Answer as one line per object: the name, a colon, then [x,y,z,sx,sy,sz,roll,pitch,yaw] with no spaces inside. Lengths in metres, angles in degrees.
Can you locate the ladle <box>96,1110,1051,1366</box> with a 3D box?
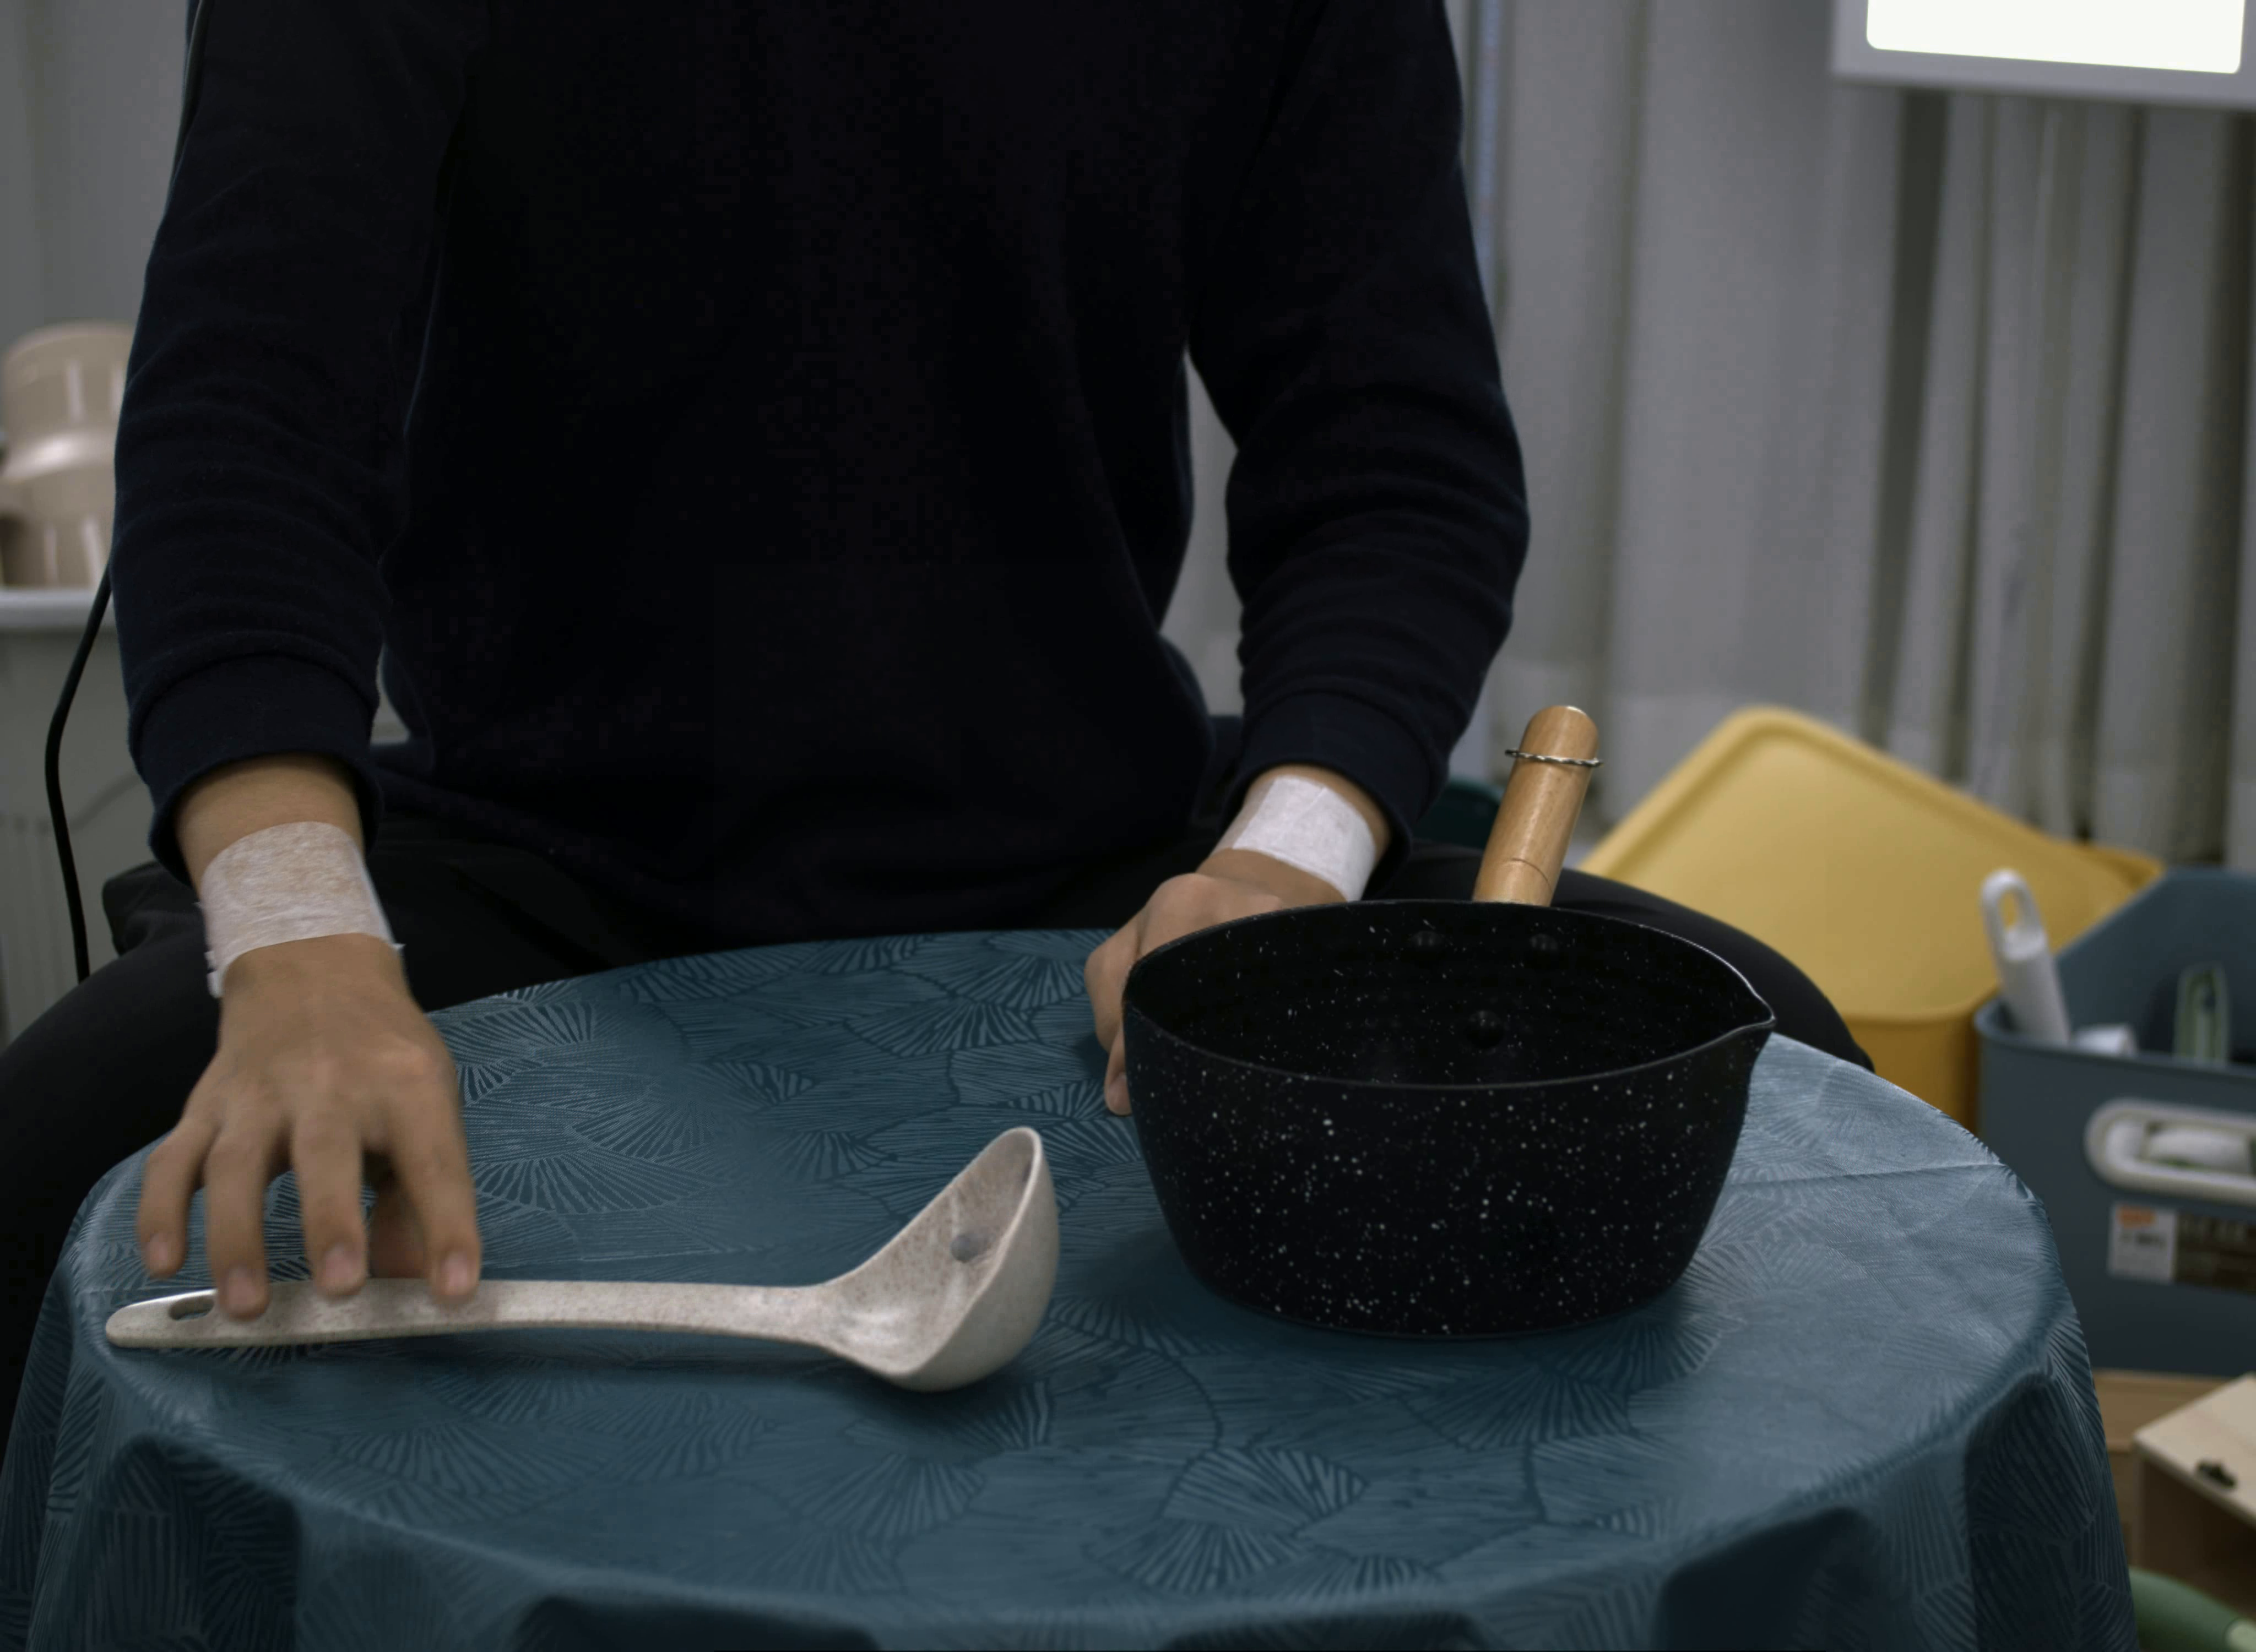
ladle: [-0.158,0.115,1.472,0.273,0.070,0.089,0,21,5]

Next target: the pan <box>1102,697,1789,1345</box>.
pan: [0.107,0.055,1.629,0.206,0.109,0.342,3,17,11]
